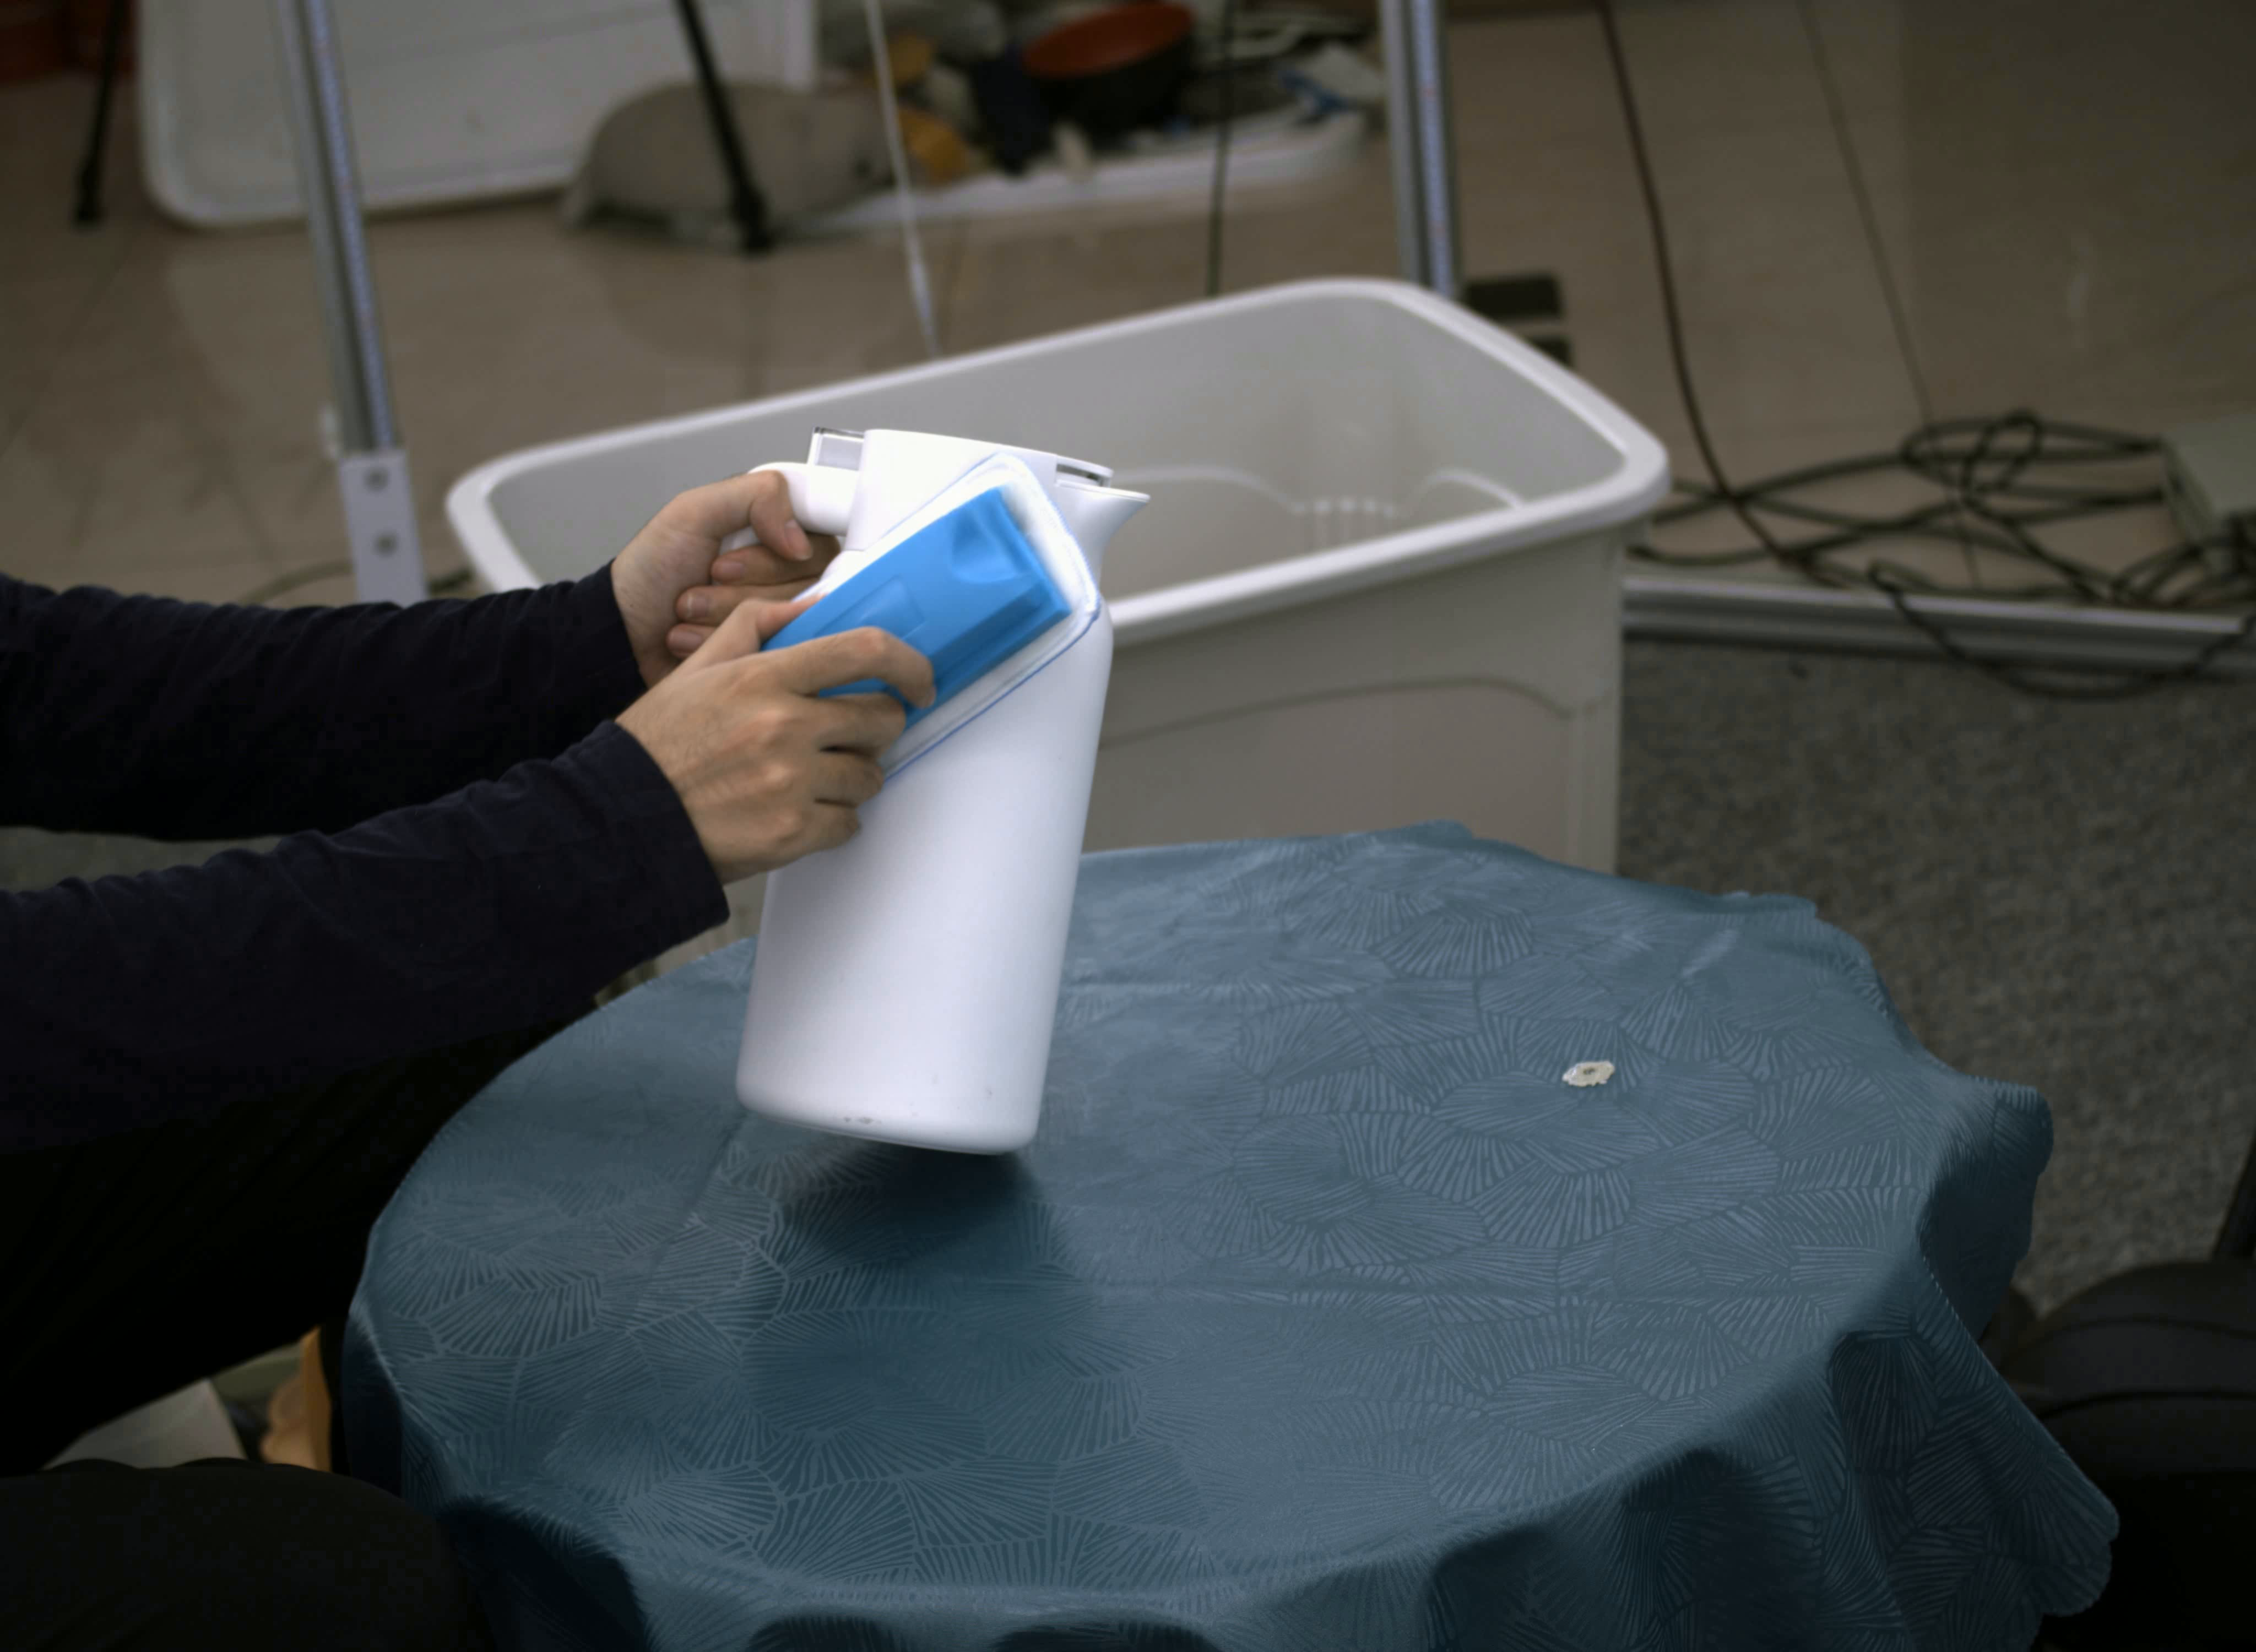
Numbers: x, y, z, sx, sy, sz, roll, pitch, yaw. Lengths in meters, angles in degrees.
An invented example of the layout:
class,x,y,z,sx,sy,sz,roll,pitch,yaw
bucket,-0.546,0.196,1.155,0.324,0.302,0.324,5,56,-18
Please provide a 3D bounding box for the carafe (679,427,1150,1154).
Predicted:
class,x,y,z,sx,sy,sz,roll,pitch,yaw
carafe,-0.090,-0.016,2.161,0.172,0.270,0.124,9,3,21

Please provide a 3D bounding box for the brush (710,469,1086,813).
class,x,y,z,sx,sy,sz,roll,pitch,yaw
brush,-0.090,-0.071,2.073,0.144,0.083,0.056,-31,-17,15
